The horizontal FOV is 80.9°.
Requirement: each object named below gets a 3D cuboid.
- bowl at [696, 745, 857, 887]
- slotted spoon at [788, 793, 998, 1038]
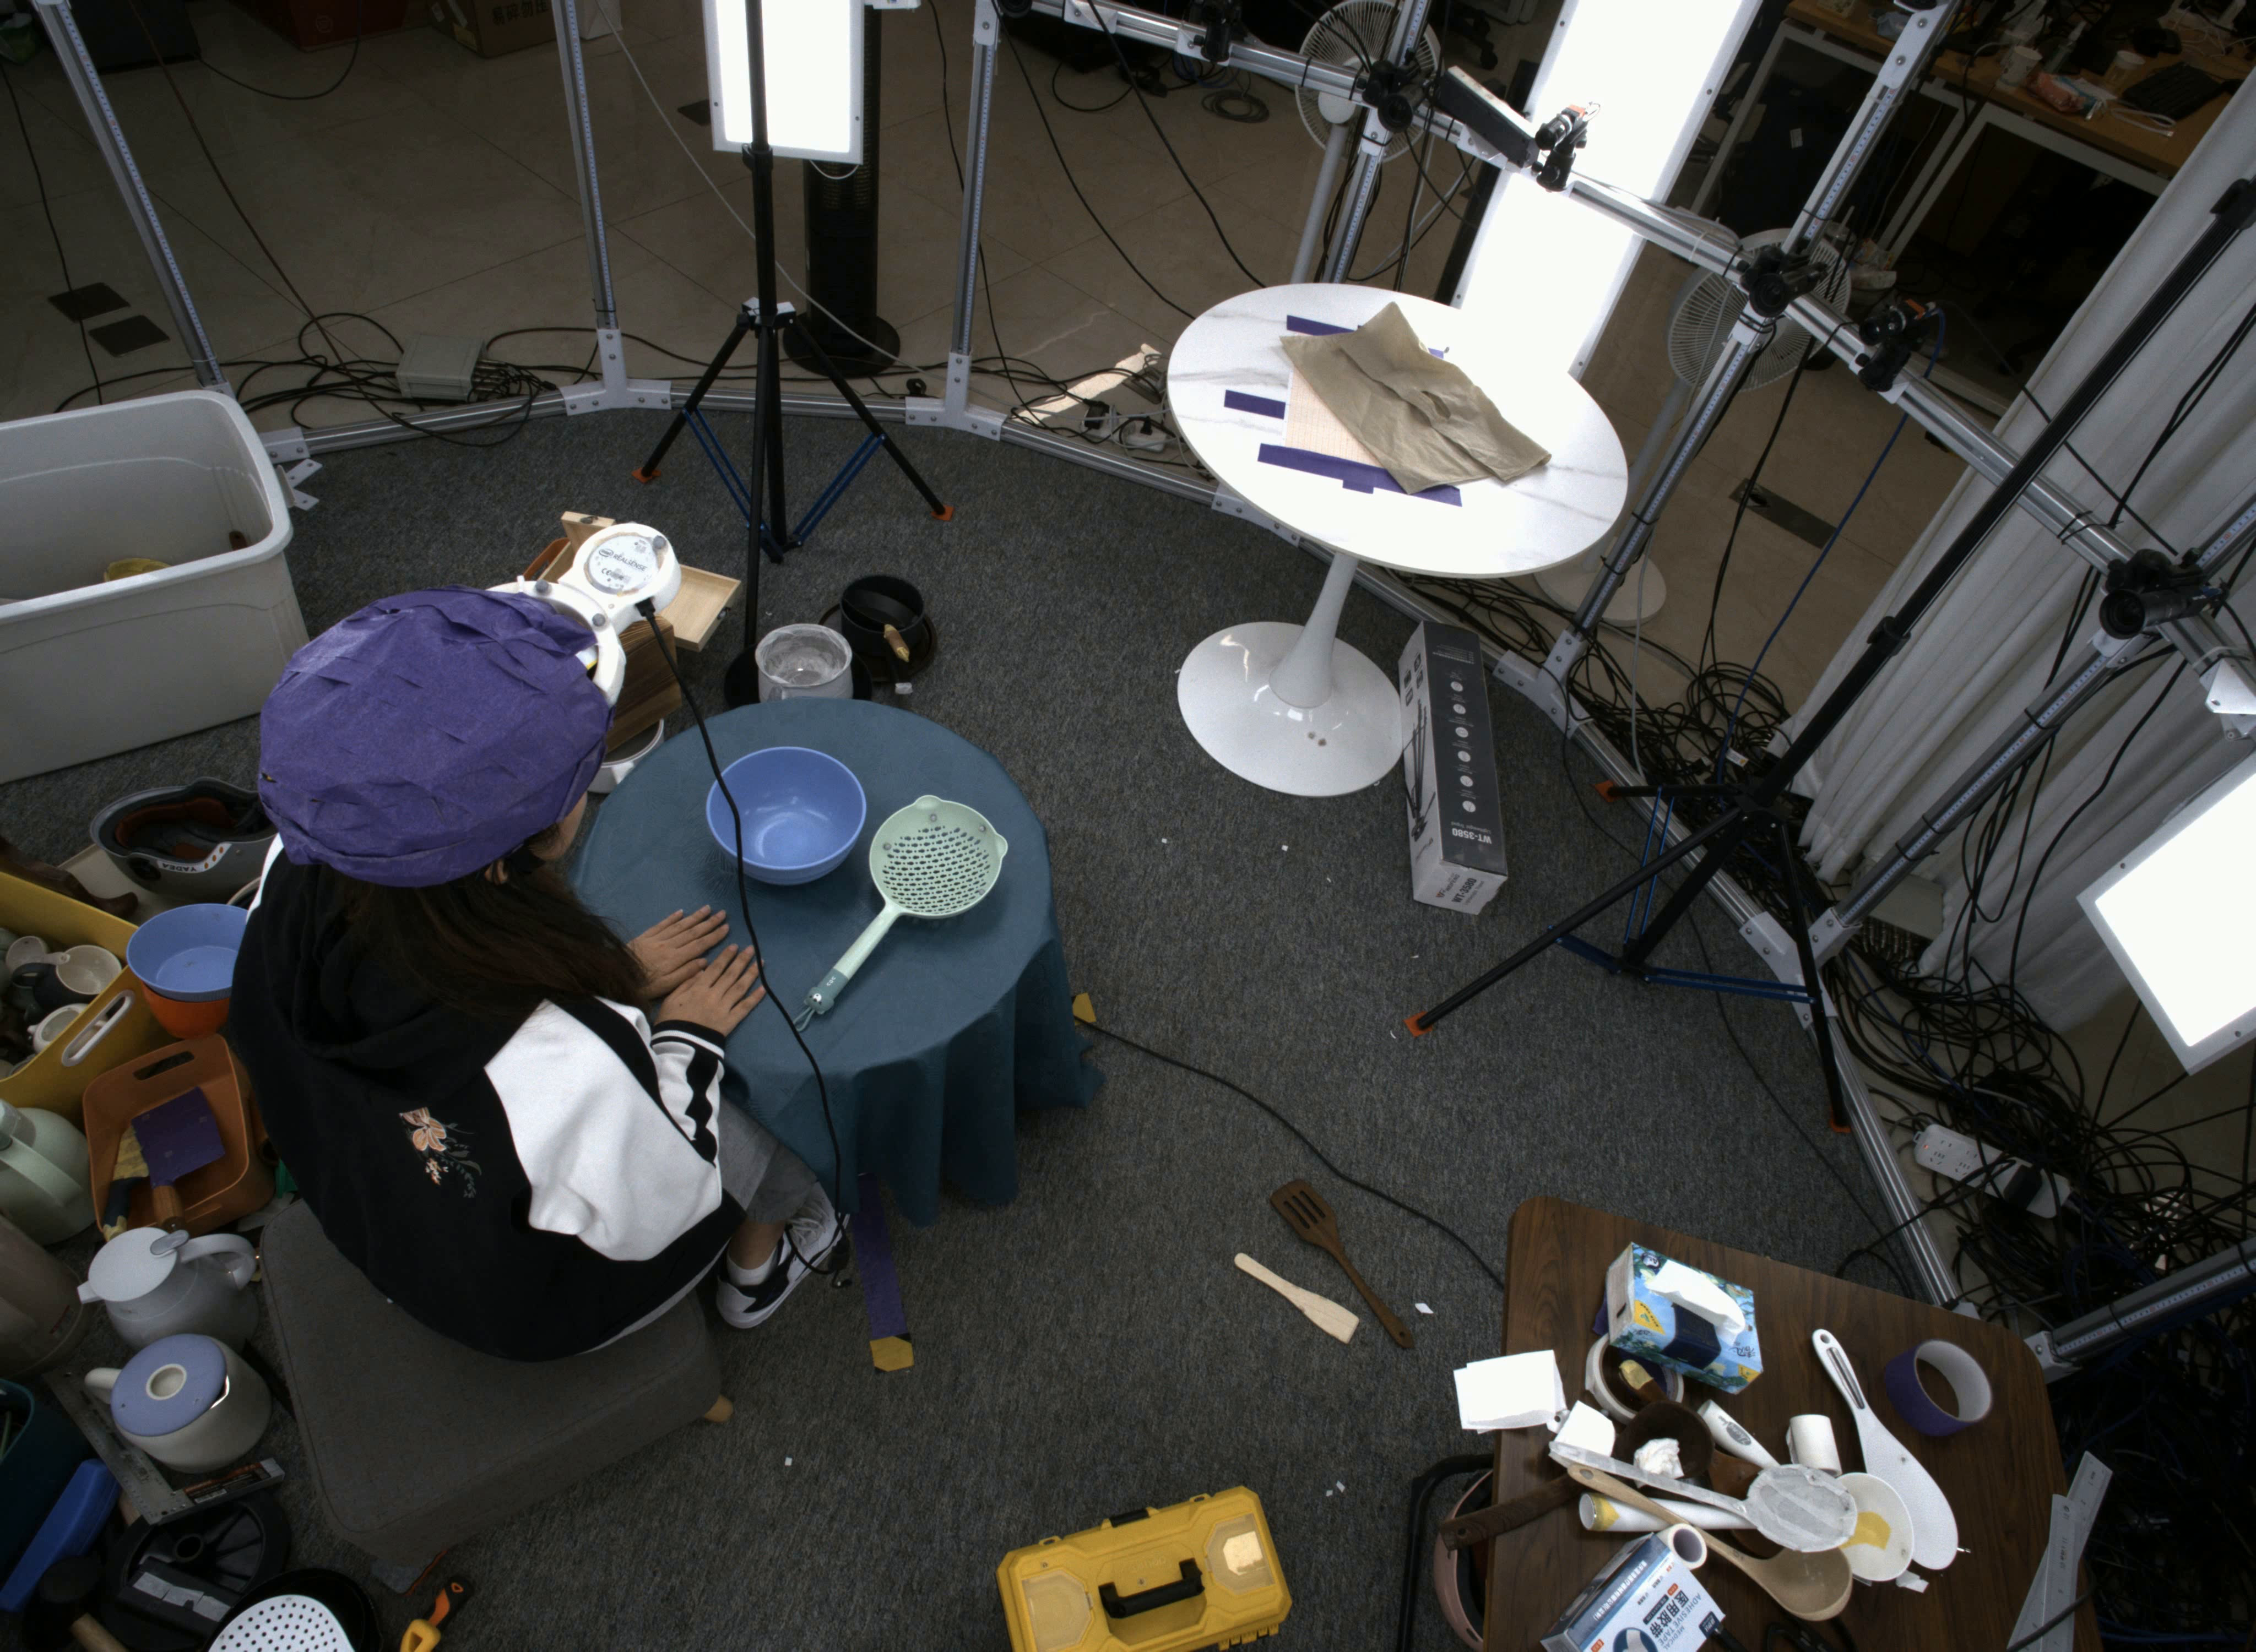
[{"bbox_3d":[-0.445,0.002,1.650,0.196,0.097,0.193,8,52,-9],"label":"bowl"},{"bbox_3d":[-0.308,0.113,1.628,0.166,0.077,0.358,30,54,10],"label":"slotted spoon"}]
